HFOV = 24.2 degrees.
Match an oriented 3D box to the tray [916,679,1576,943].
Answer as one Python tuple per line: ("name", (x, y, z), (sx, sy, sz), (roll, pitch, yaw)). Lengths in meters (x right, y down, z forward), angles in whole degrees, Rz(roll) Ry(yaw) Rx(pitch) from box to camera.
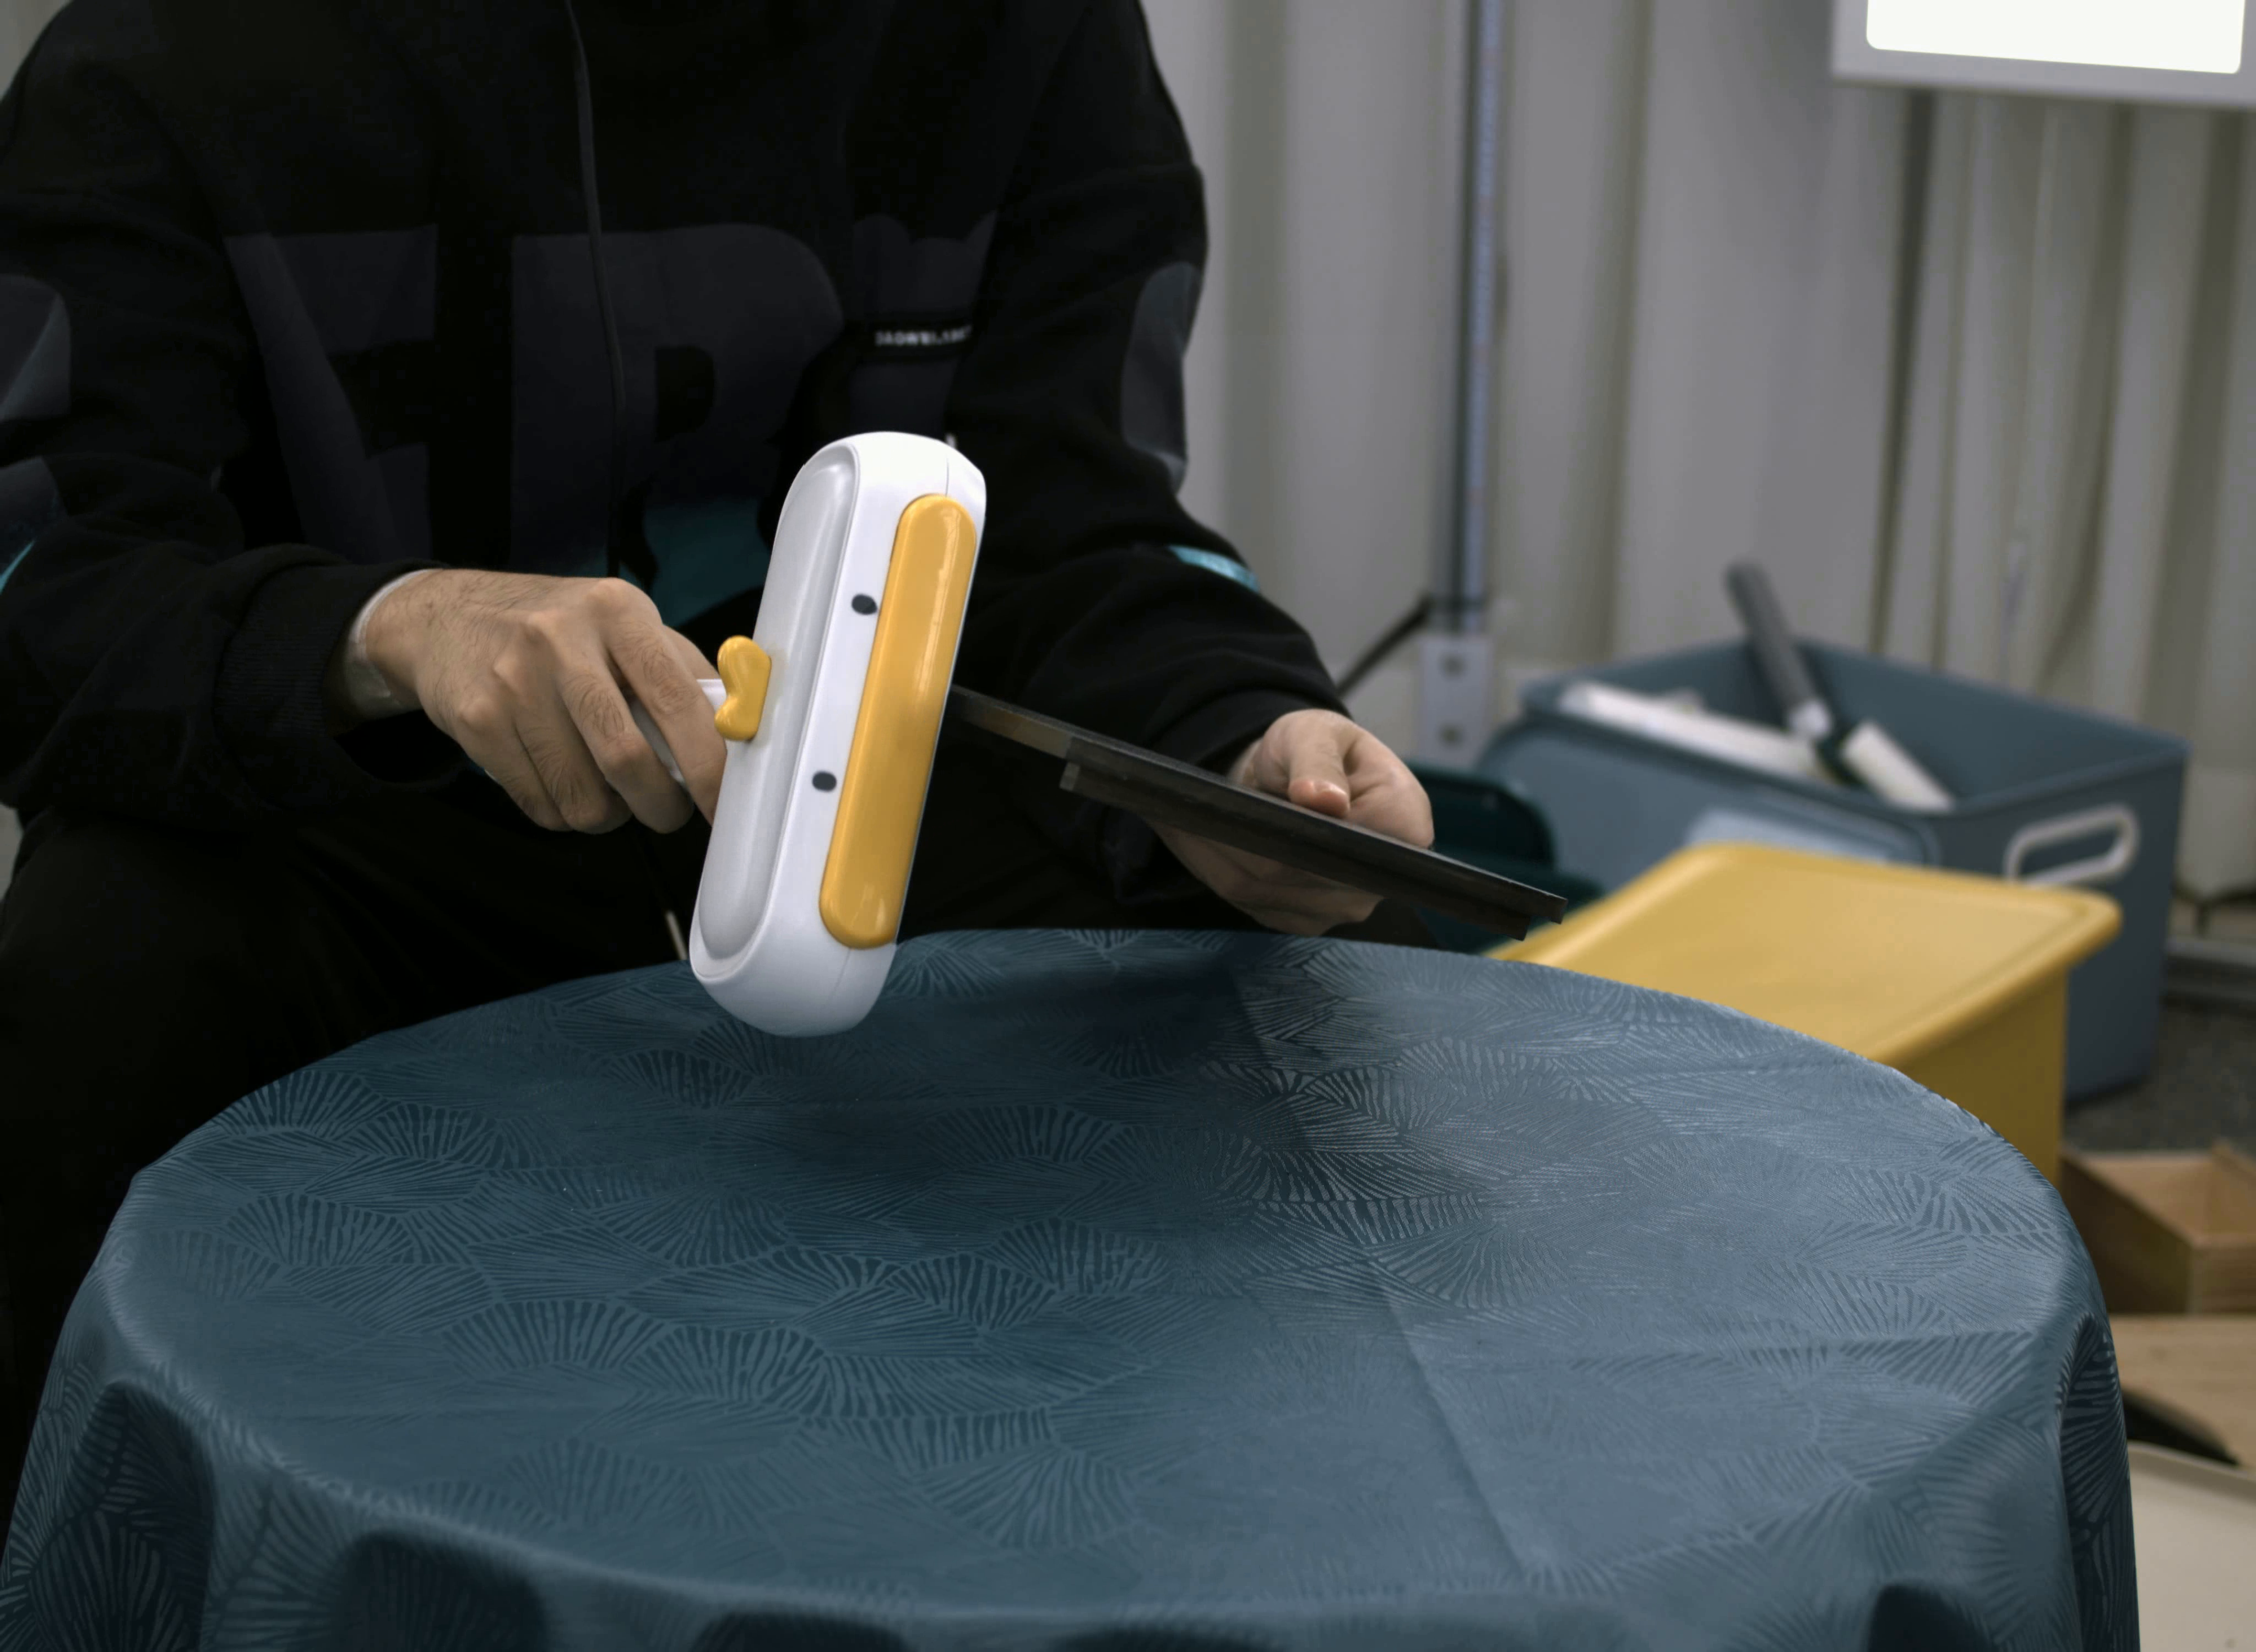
("tray", (0.013, -0.012, 1.687), (0.171, 0.018, 0.303), (18, 1, -20))

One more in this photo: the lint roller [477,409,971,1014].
("lint roller", (-0.131, -0.029, 1.668), (0.075, 0.192, 0.191), (16, -19, -38))
